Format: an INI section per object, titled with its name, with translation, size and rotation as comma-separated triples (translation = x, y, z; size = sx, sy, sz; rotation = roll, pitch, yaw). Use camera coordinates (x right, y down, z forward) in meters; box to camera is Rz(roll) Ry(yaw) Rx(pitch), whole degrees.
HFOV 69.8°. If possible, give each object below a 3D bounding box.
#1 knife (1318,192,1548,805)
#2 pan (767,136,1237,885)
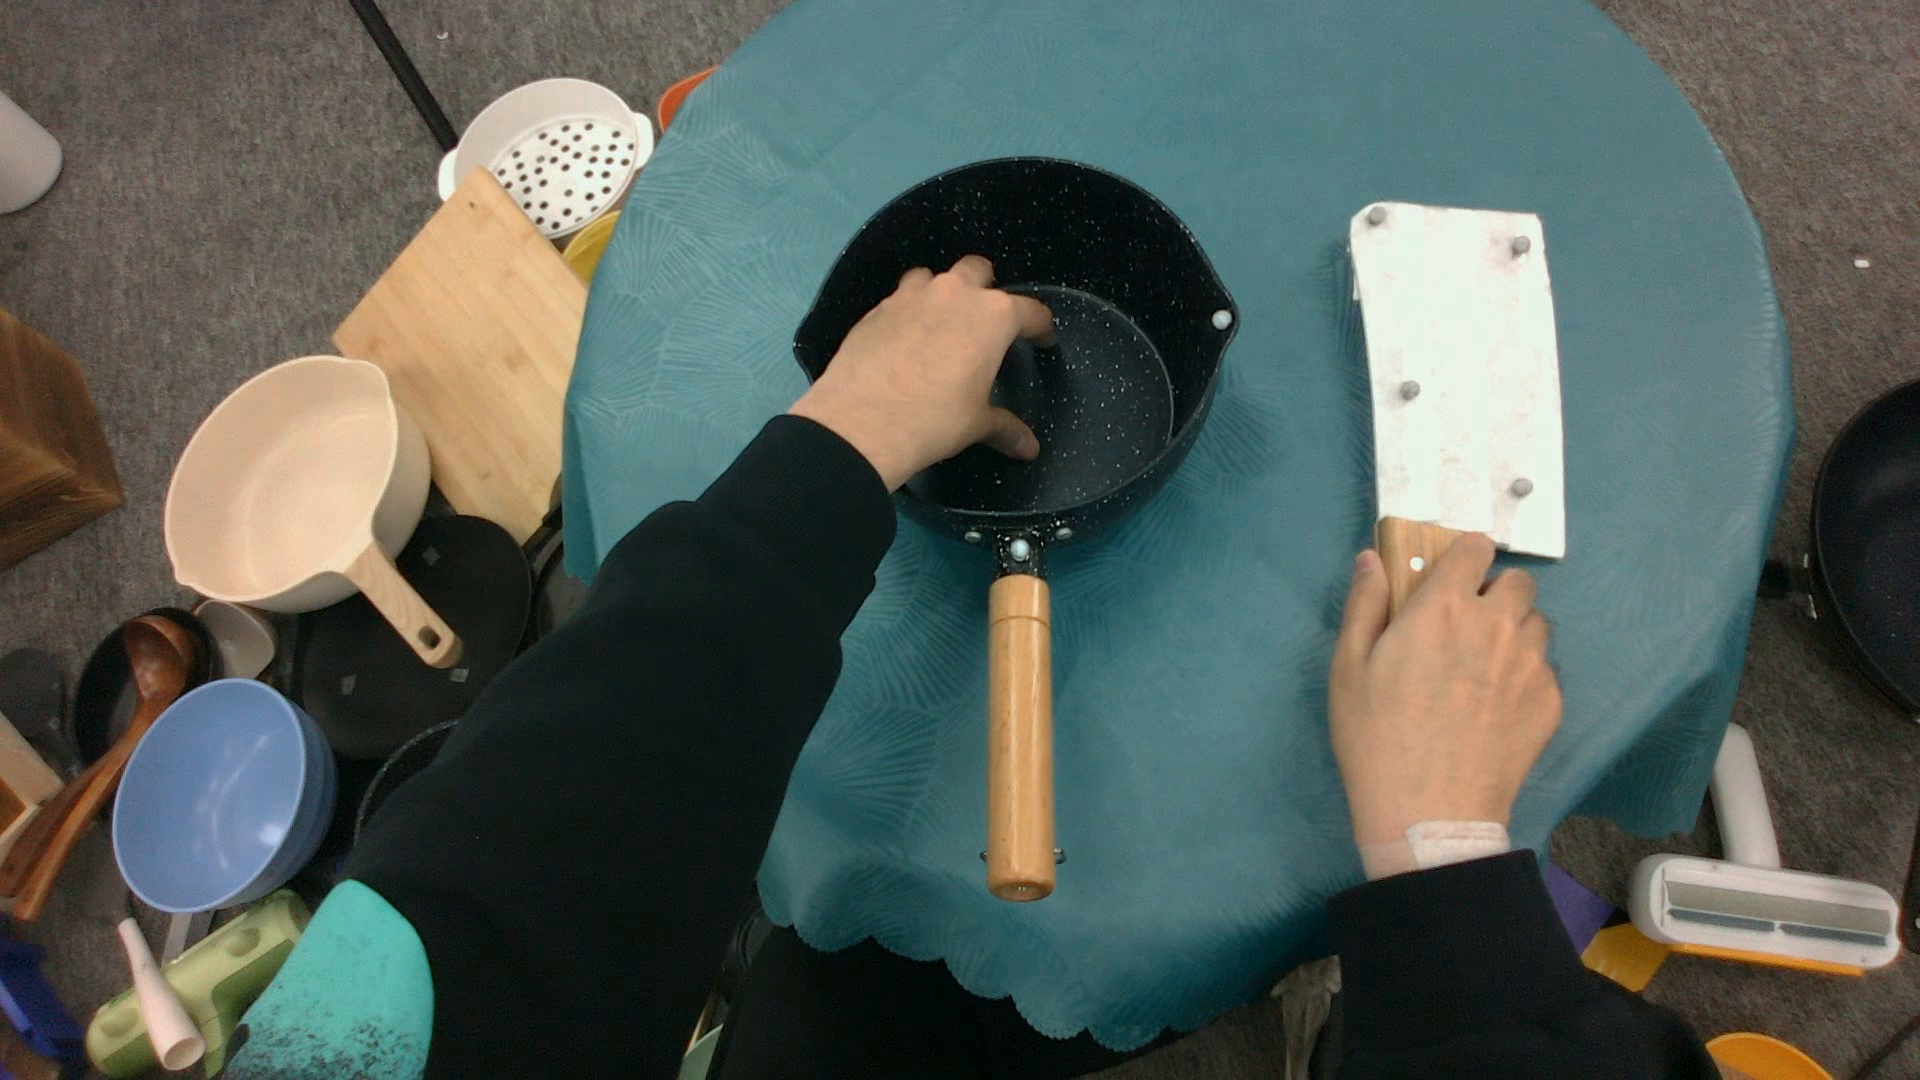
[knife]
translation = 0.214, -0.035, 0.630
size = 0.114, 0.021, 0.316
rotation = 10, 67, -3
[pan]
translation = 0.023, -0.017, 0.606
size = 0.207, 0.108, 0.344
rotation = -4, 67, 4
